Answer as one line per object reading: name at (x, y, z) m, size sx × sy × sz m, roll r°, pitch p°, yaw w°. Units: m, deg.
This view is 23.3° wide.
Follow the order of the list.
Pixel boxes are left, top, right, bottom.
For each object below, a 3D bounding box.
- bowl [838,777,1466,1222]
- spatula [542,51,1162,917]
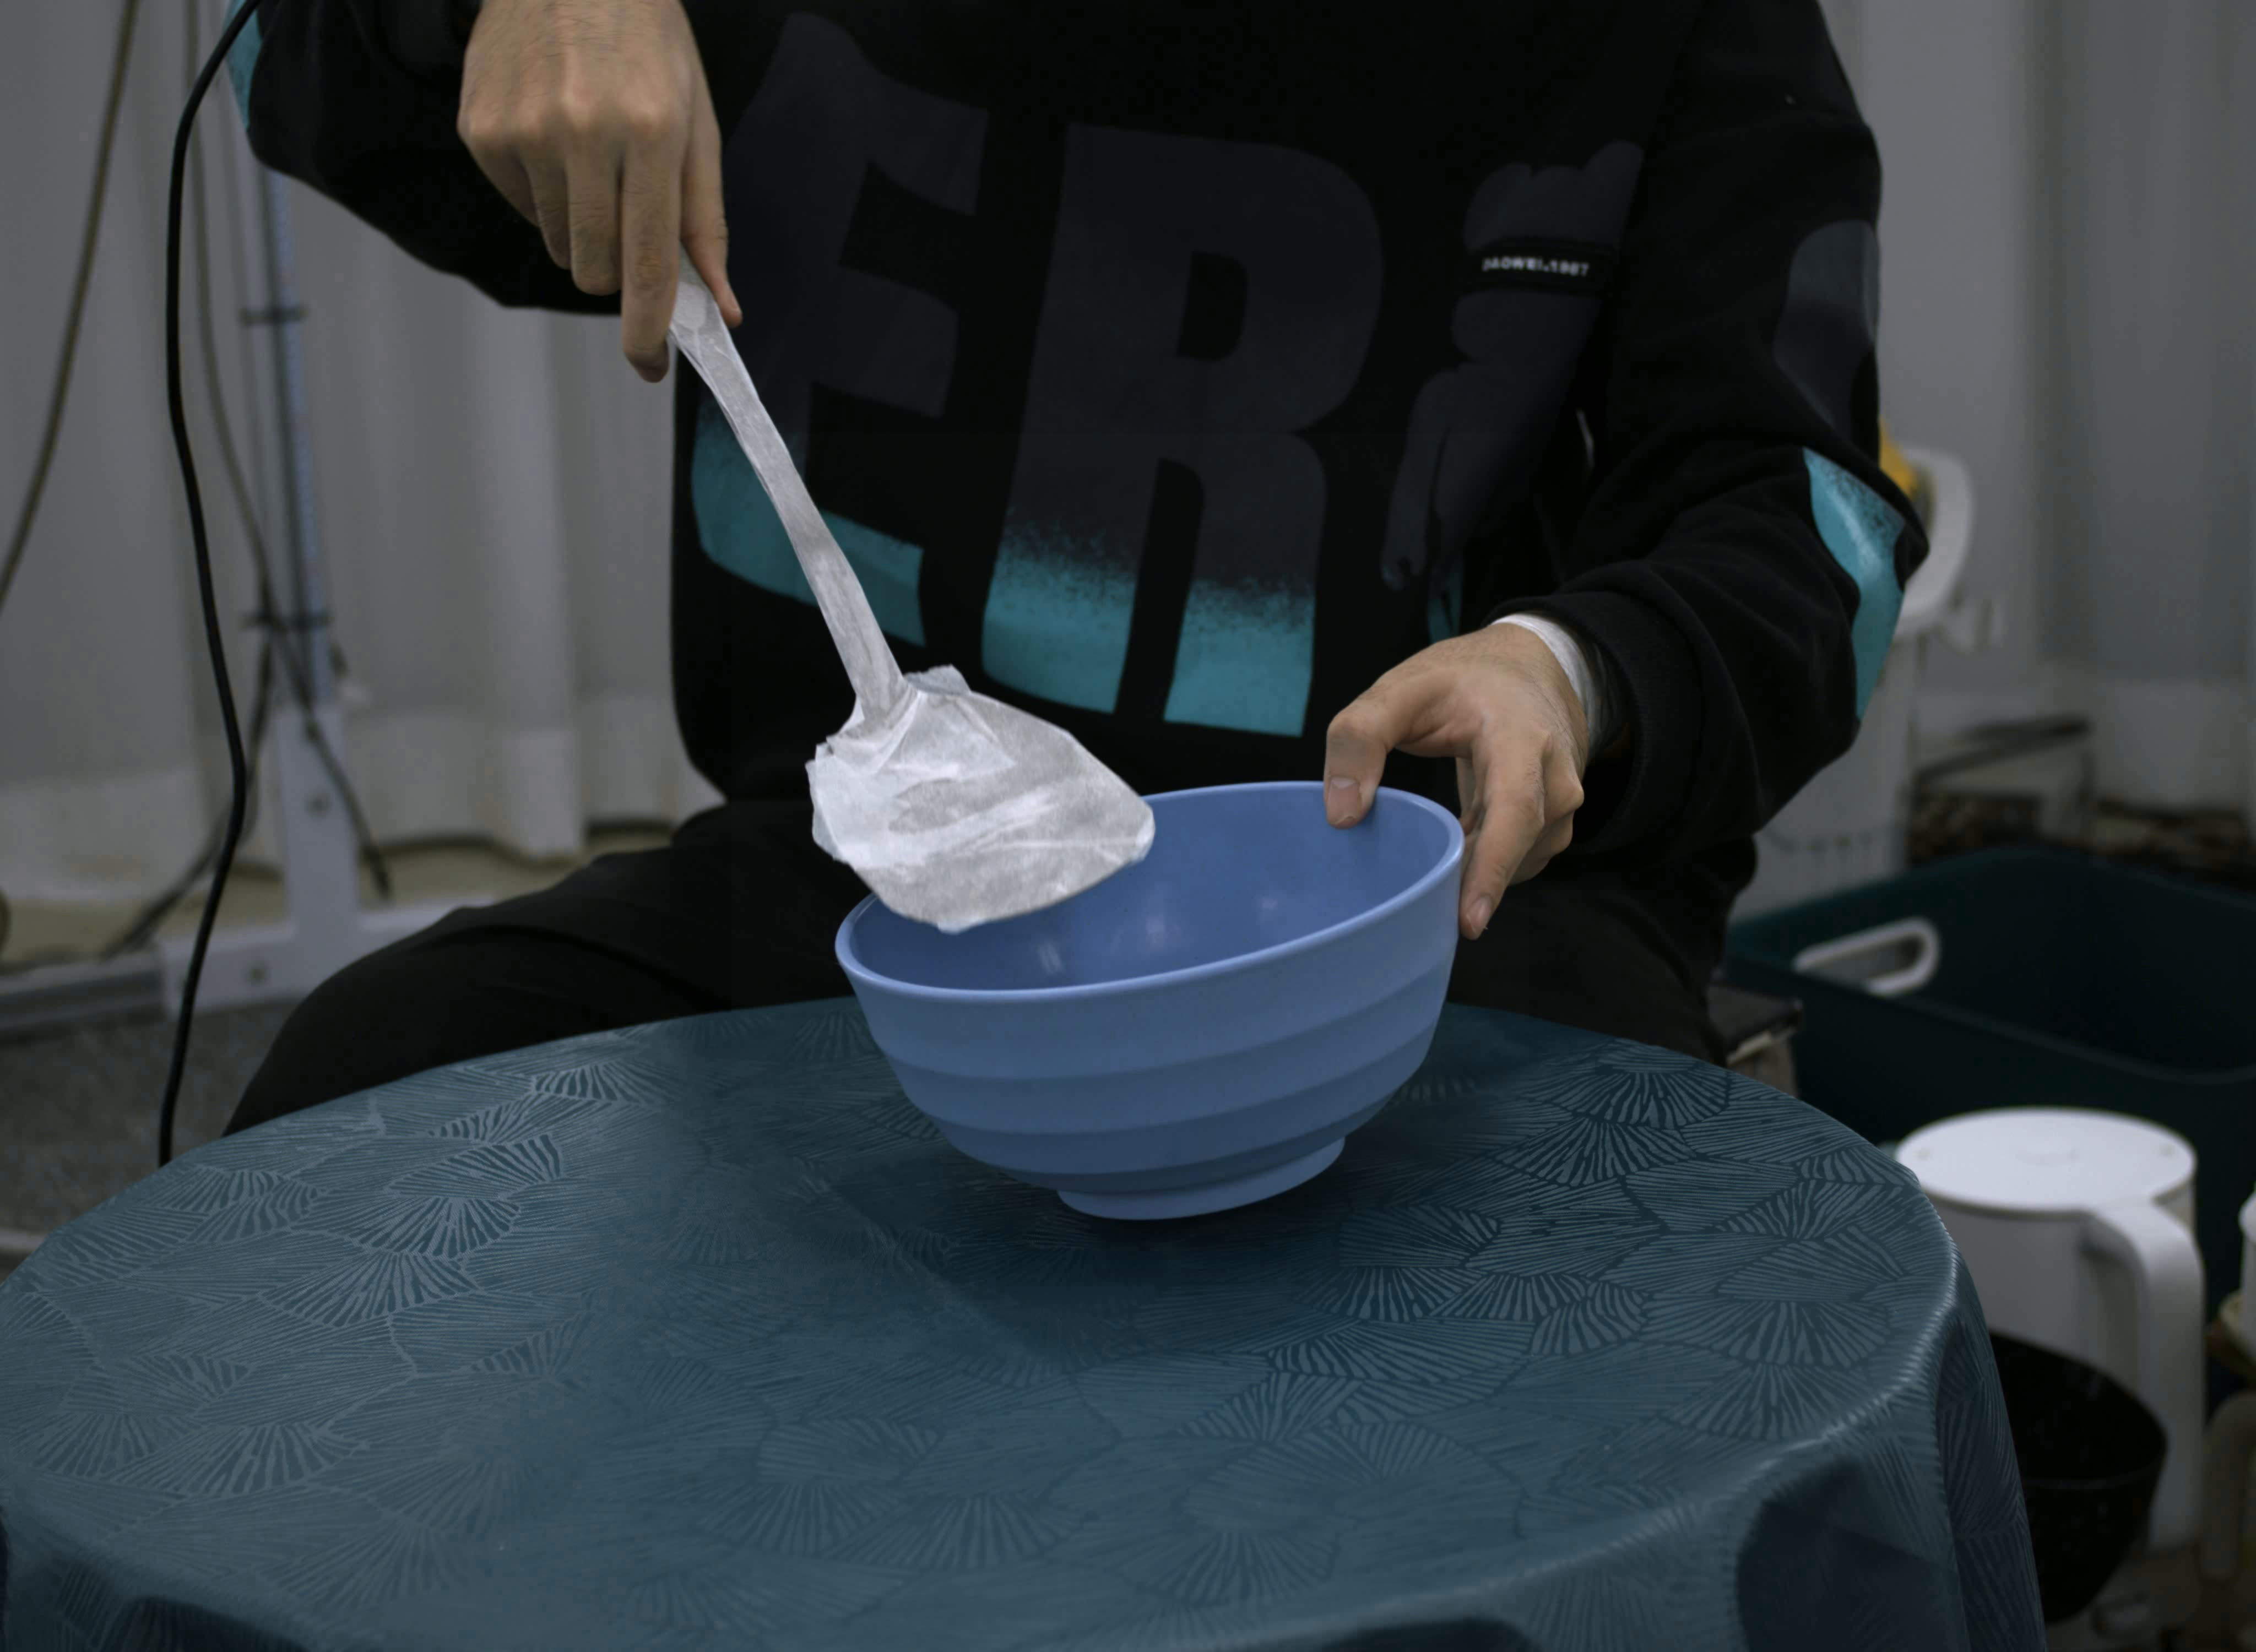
bowl at (0.015, 0.061, 1.688) m, size 0.196 × 0.095 × 0.198 m, roll -10°, pitch 16°, yaw 3°
spatula at (-0.110, -0.119, 1.764) m, size 0.098 × 0.369 × 0.044 m, roll -19°, pitch -23°, yaw -24°
